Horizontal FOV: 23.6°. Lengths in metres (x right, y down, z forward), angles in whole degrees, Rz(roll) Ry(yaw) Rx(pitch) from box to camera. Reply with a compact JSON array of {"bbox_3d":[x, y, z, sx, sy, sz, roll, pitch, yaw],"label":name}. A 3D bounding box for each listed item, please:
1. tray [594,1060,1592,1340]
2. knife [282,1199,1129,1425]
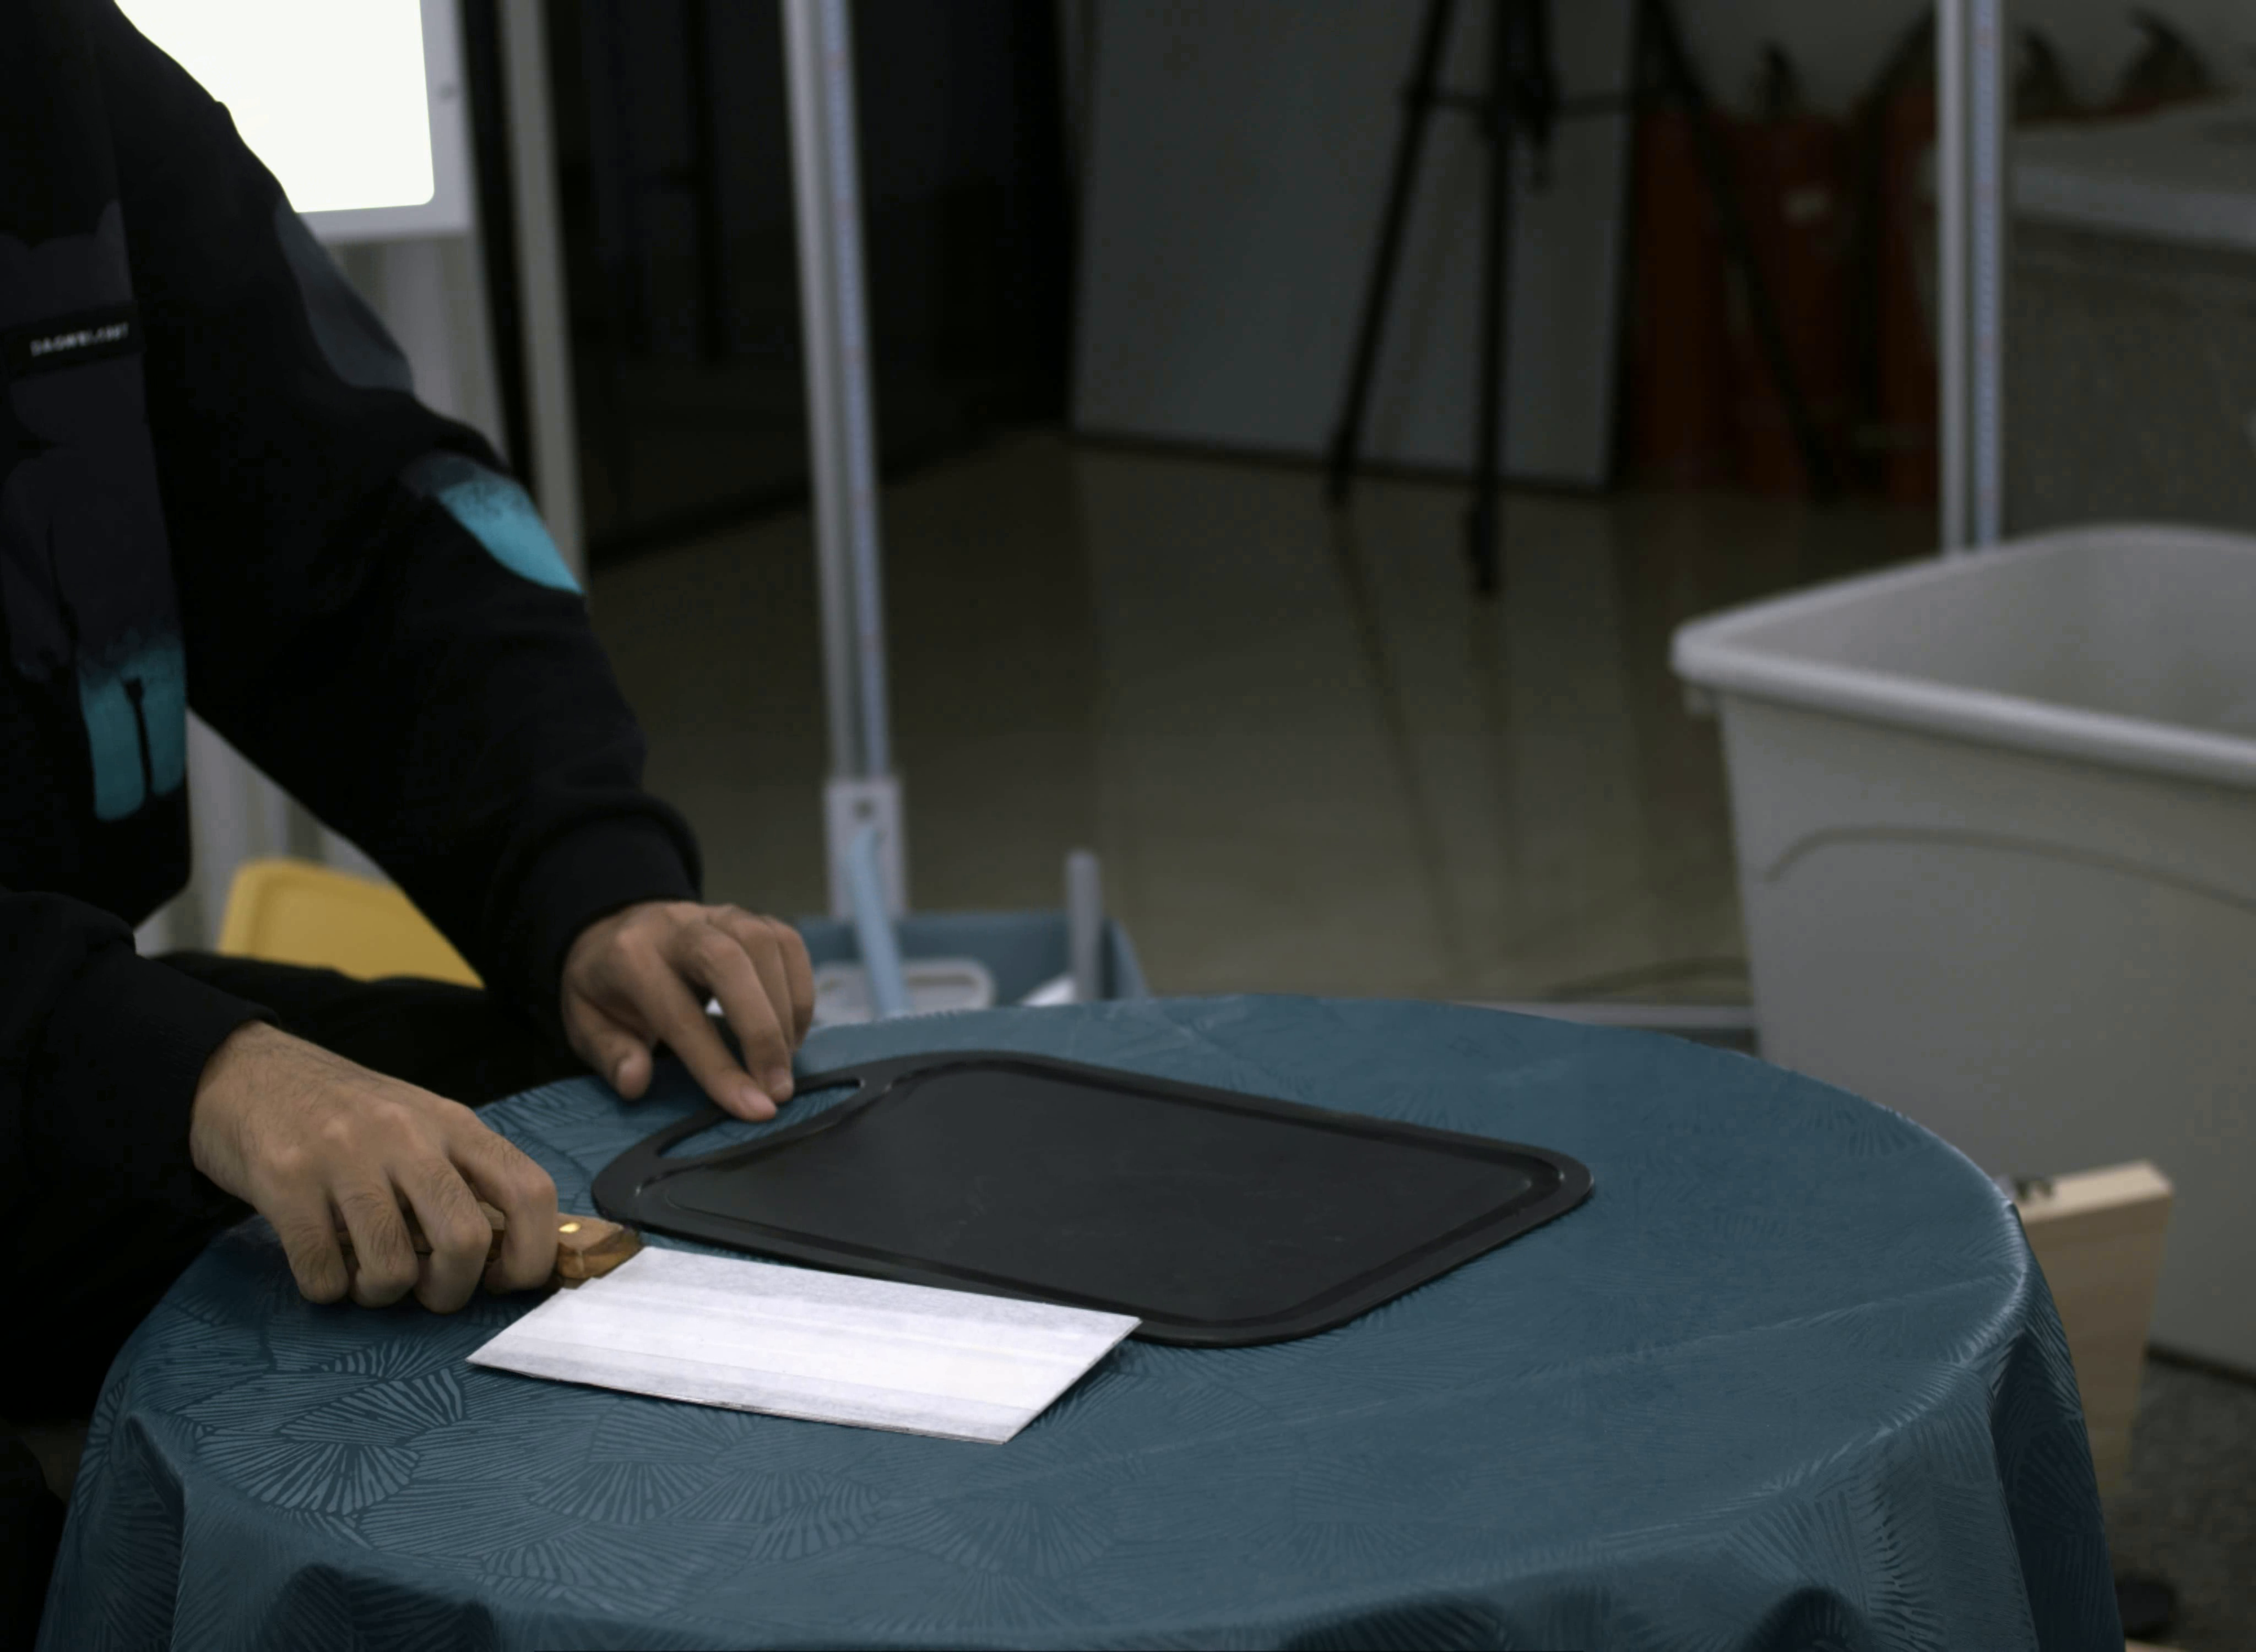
[{"bbox_3d":[-0.021,0.118,1.776,0.328,0.010,0.207,8,18,40],"label":"tray"},{"bbox_3d":[-0.147,0.152,1.662,0.307,0.021,0.092,5,23,30],"label":"knife"}]
